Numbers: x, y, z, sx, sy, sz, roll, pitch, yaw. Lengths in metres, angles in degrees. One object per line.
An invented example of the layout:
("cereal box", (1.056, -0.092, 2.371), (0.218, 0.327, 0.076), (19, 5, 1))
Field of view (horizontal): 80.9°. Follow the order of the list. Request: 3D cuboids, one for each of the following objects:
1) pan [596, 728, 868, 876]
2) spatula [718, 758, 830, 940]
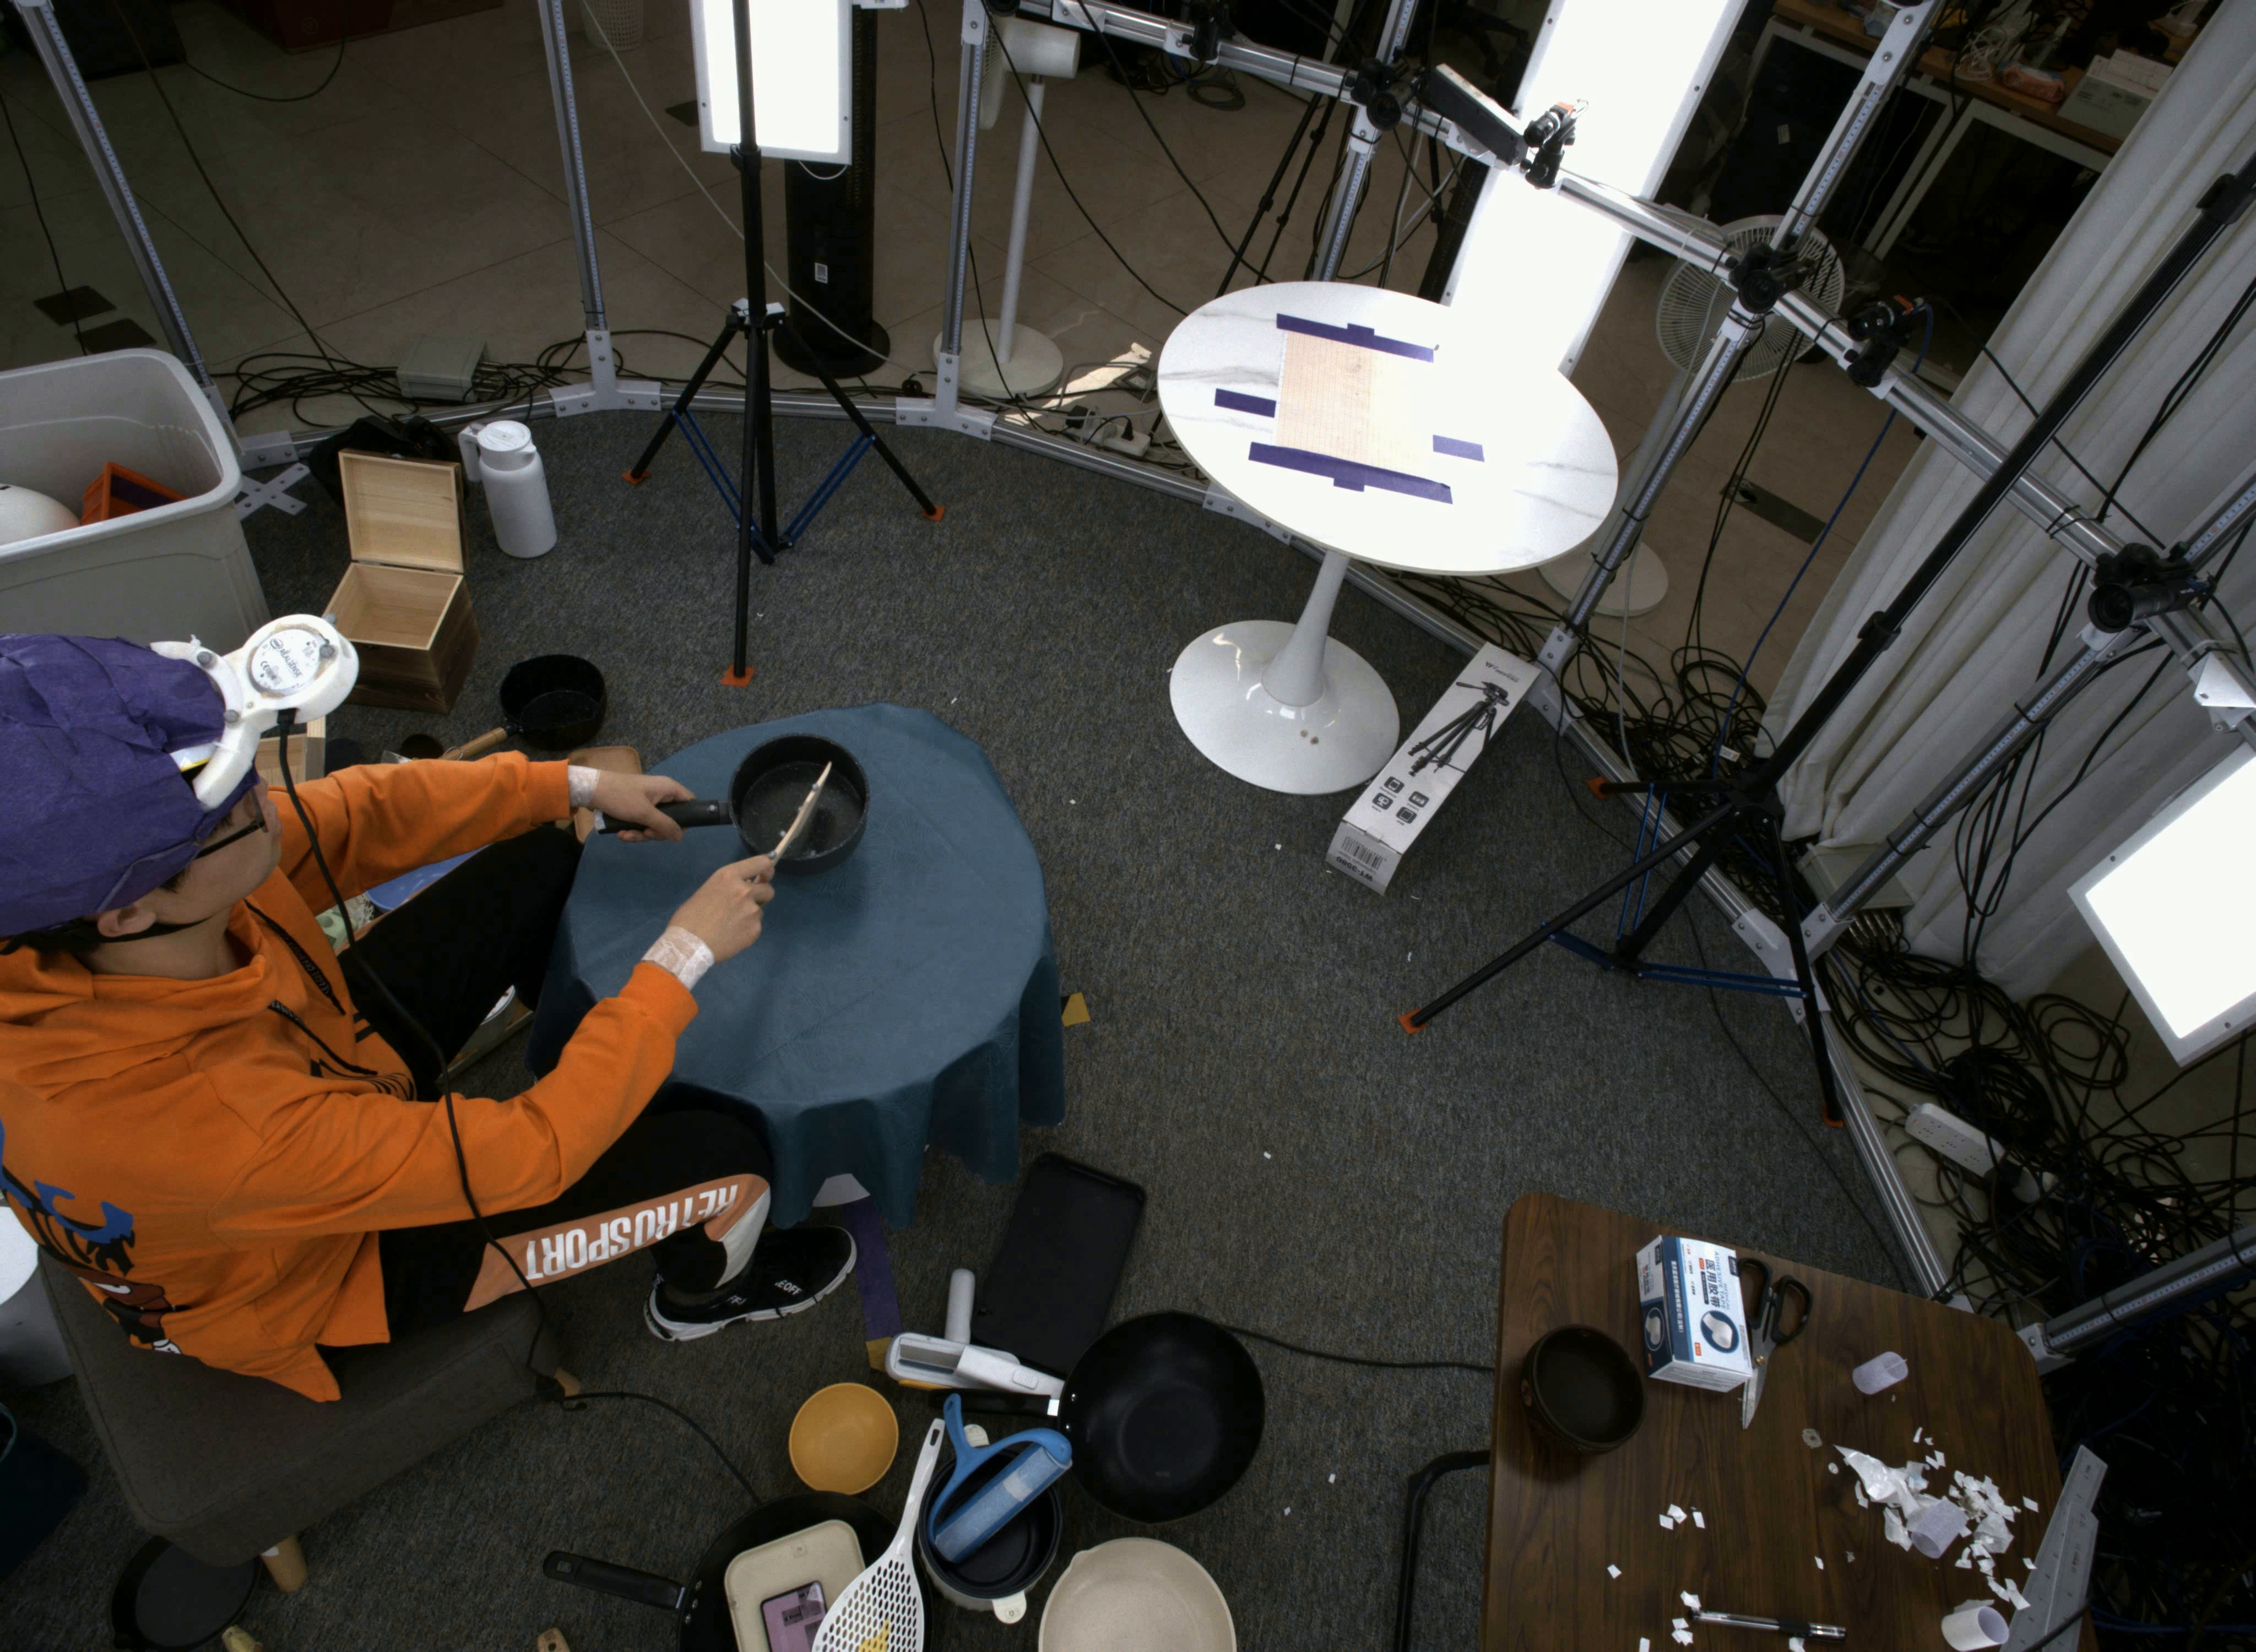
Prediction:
("pan", (-0.486, -0.020, 1.590), (0.329, 0.087, 0.170), (-5, 69, -17))
("spatula", (-0.409, 0.026, 1.507), (0.011, 0.073, 0.289), (26, 41, -6))
